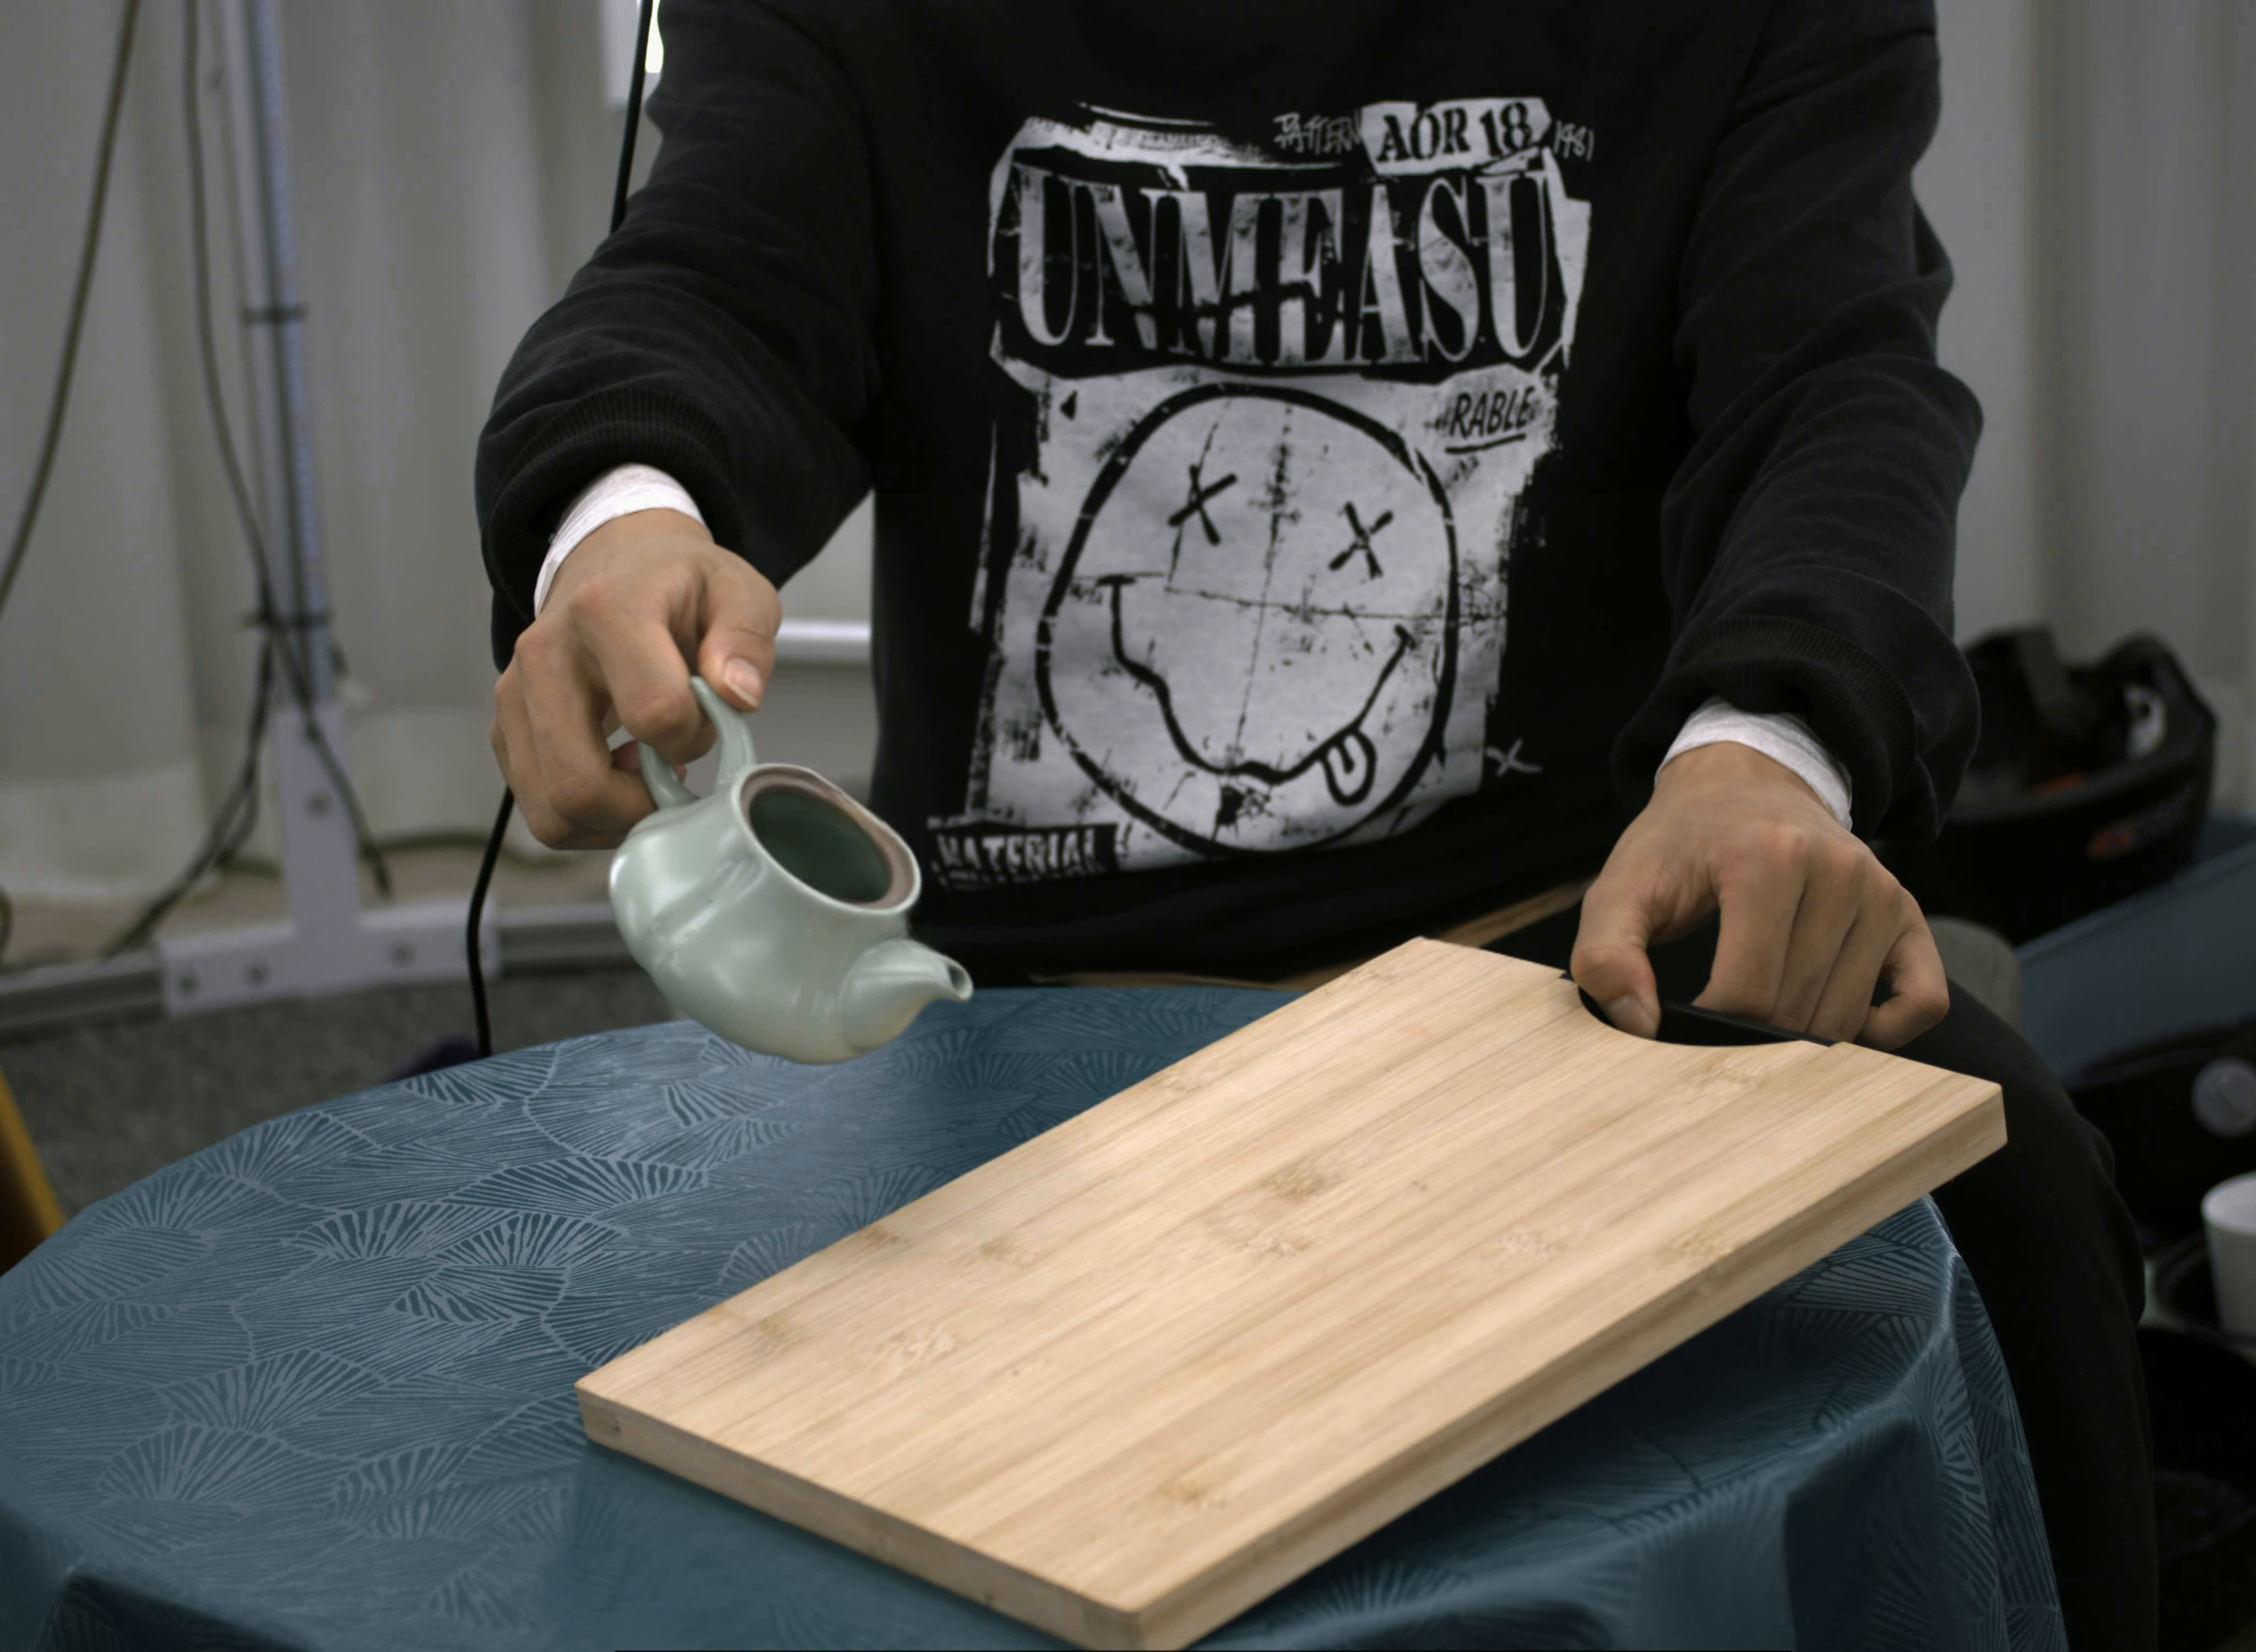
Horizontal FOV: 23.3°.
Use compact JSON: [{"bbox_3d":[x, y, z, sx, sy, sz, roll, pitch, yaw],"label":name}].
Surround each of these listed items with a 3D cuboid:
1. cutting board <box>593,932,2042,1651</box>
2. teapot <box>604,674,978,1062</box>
[{"bbox_3d":[0.052,0.122,1.540,0.349,0.023,0.252,-26,26,-36],"label":"cutting board"},{"bbox_3d":[-0.103,0.018,1.573,0.138,0.061,0.096,47,31,19],"label":"teapot"}]
